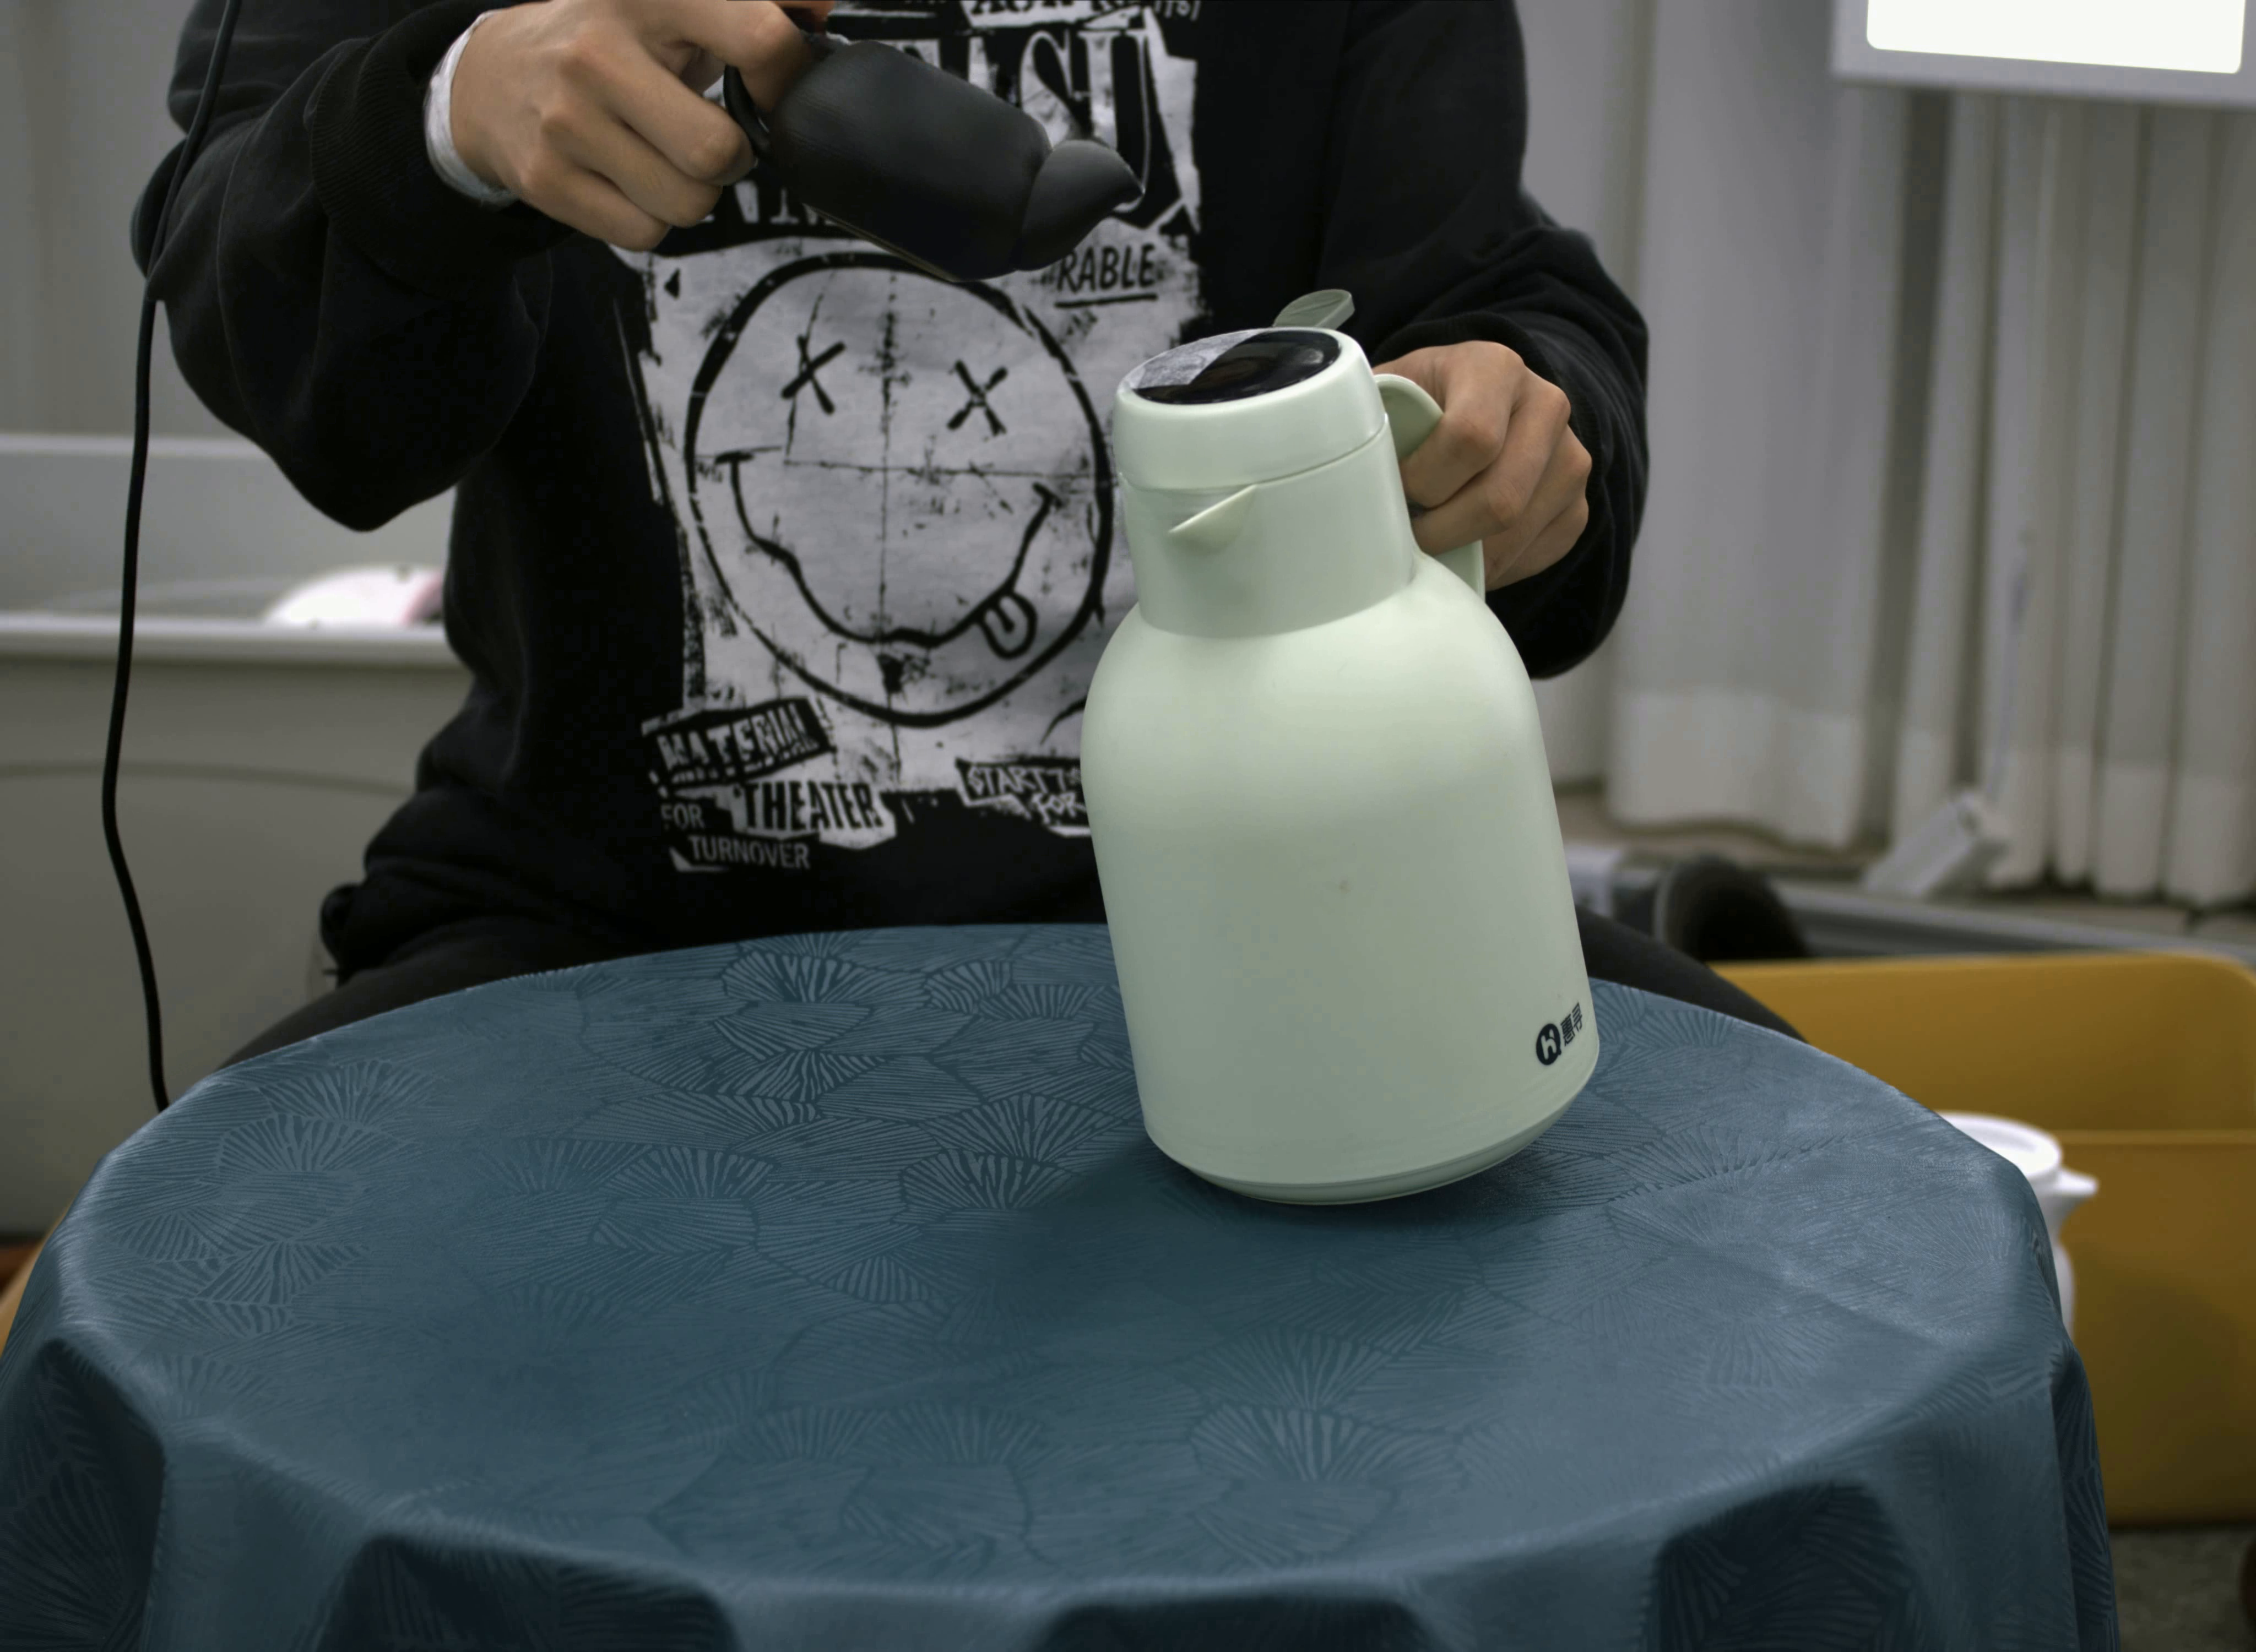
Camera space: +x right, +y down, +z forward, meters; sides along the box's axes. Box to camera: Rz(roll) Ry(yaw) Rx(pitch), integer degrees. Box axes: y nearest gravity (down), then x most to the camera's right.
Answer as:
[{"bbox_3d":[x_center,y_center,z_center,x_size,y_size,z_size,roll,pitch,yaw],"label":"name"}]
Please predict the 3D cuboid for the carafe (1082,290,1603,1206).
[{"bbox_3d":[0.062,-0.029,1.616,0.143,0.259,0.187,0,22,29],"label":"carafe"}]

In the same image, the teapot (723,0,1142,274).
[{"bbox_3d":[-0.063,-0.199,1.552,0.132,0.053,0.091,29,2,11],"label":"teapot"}]
